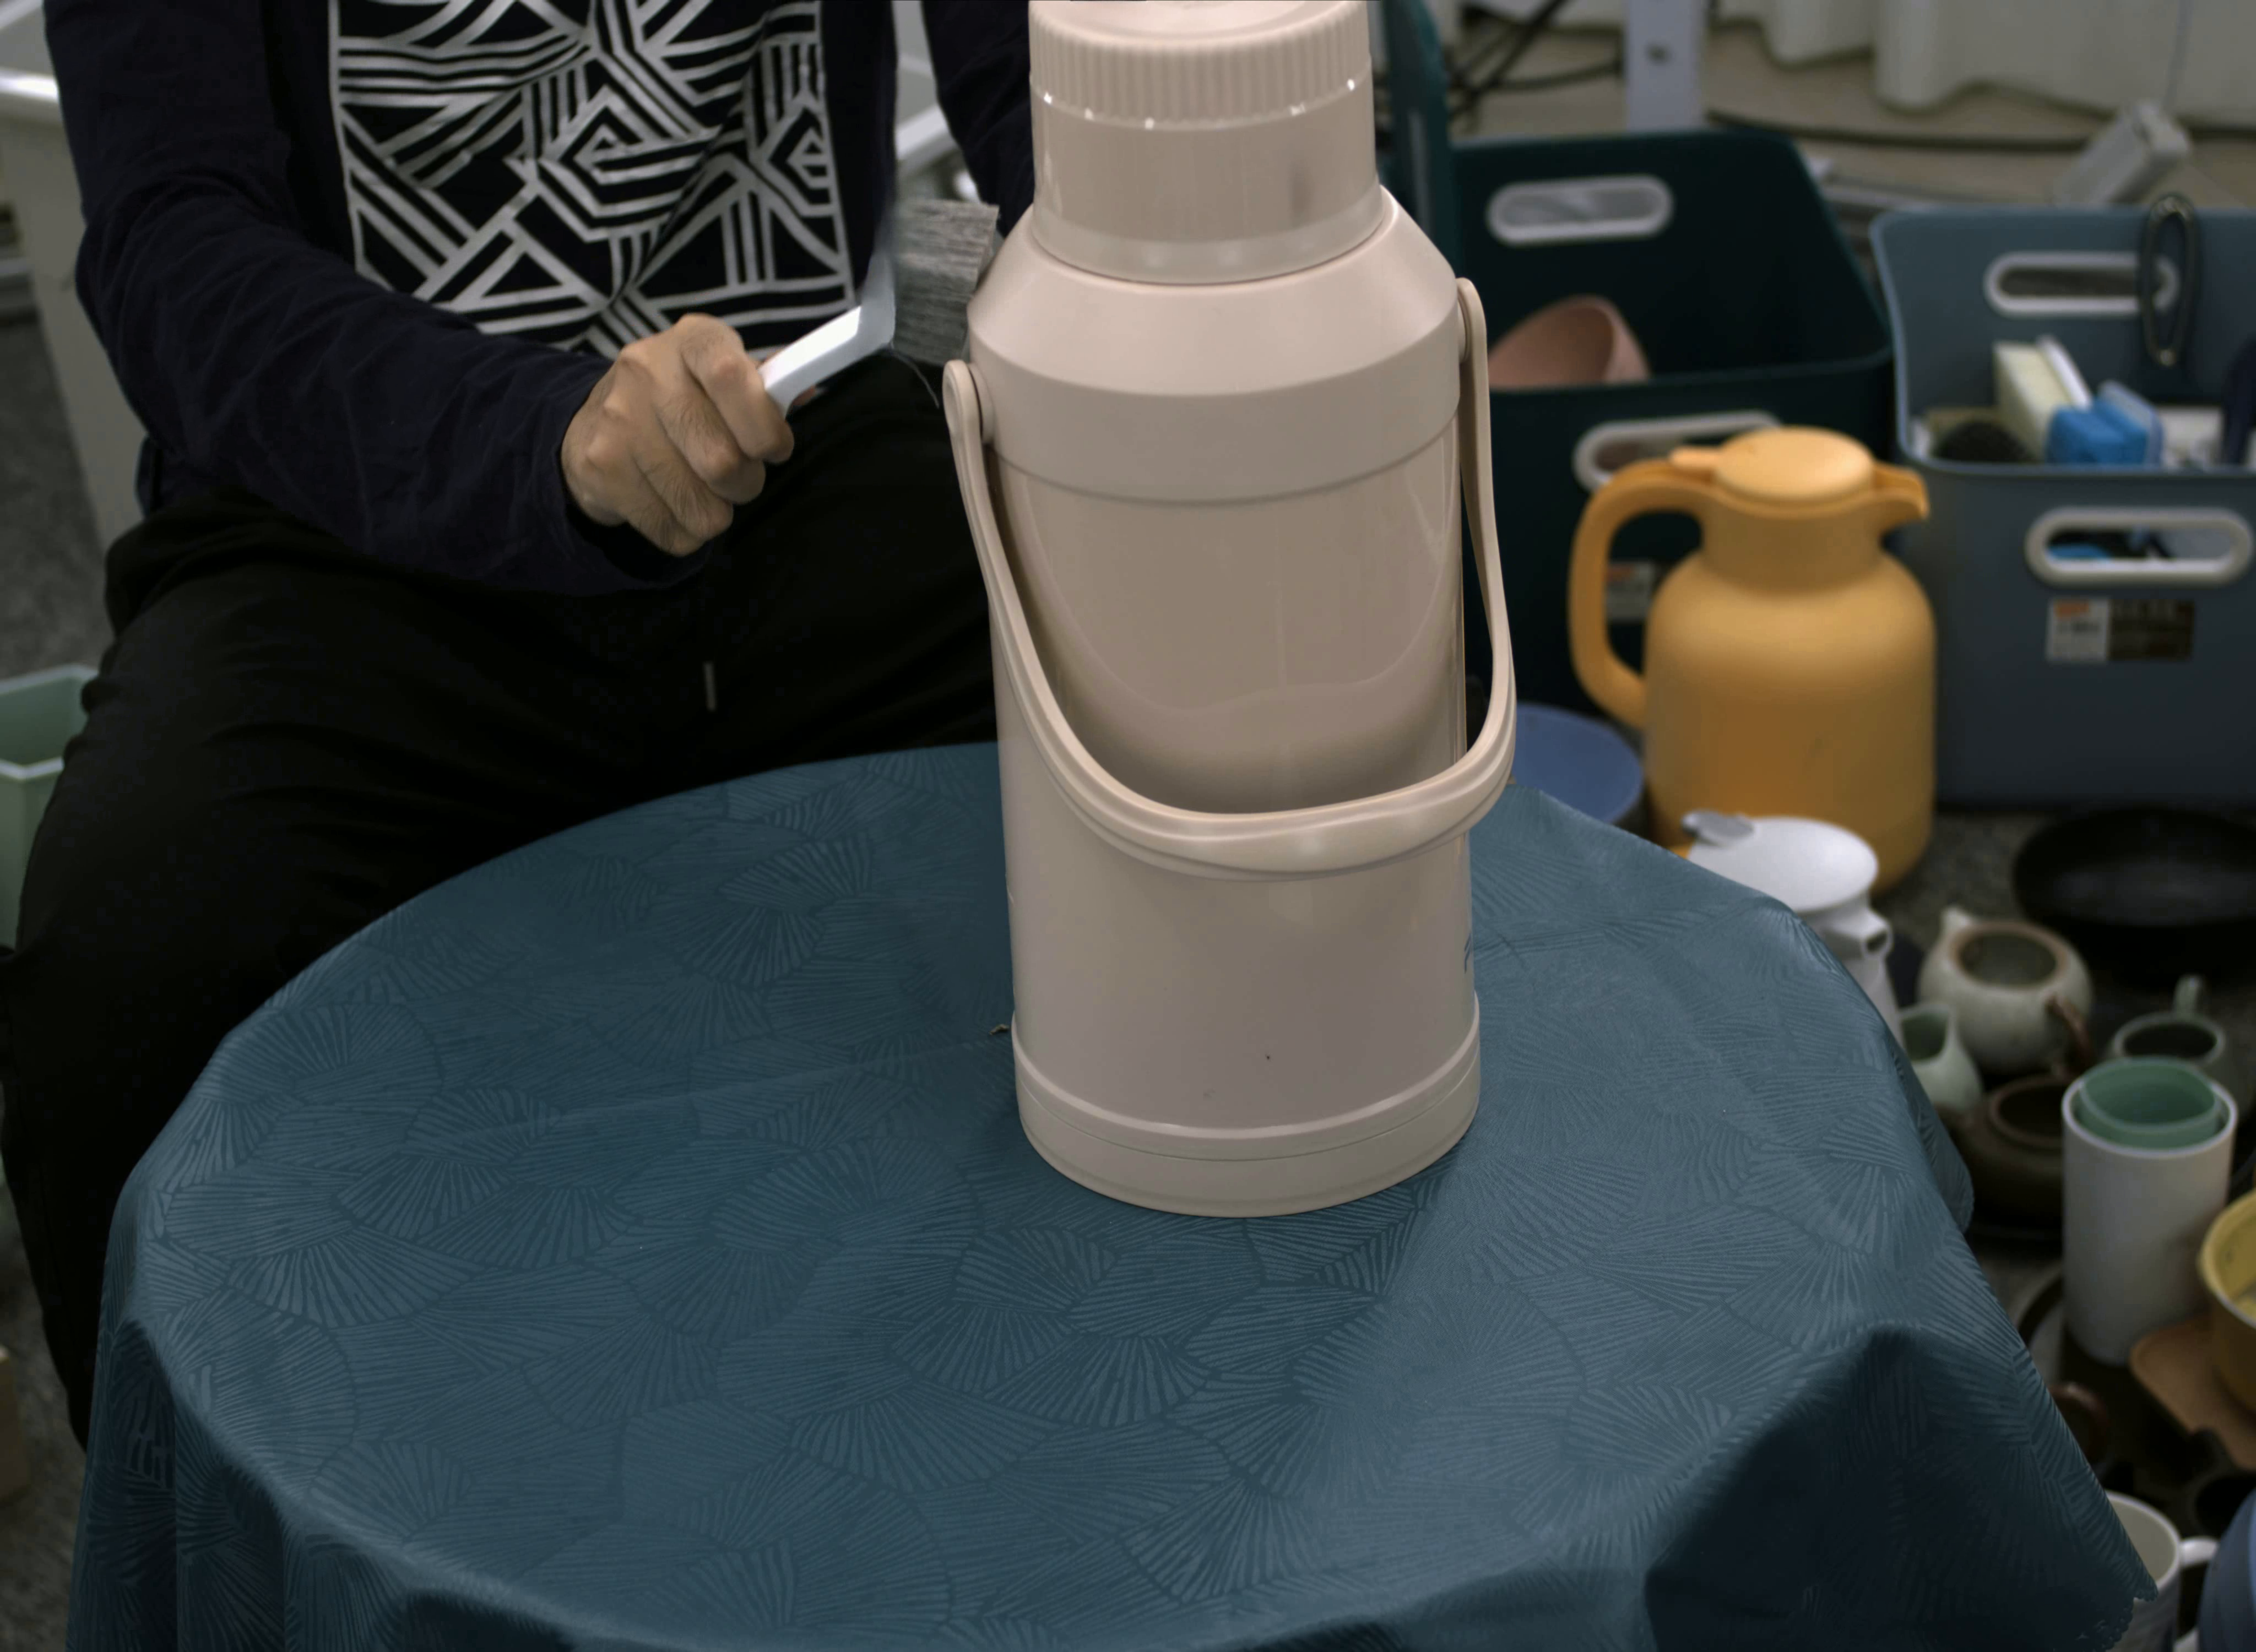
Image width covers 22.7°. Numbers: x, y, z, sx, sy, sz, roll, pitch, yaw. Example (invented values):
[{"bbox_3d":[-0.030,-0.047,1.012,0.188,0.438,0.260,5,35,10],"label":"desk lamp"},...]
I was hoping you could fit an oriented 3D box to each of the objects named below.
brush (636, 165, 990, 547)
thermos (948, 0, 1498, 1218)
[{"bbox_3d":[-0.102,-0.146,1.872,0.050,0.239,0.035,19,58,-17],"label":"brush"},{"bbox_3d":[0.031,-0.089,1.838,0.175,0.402,0.209,-12,27,-14],"label":"thermos"}]
